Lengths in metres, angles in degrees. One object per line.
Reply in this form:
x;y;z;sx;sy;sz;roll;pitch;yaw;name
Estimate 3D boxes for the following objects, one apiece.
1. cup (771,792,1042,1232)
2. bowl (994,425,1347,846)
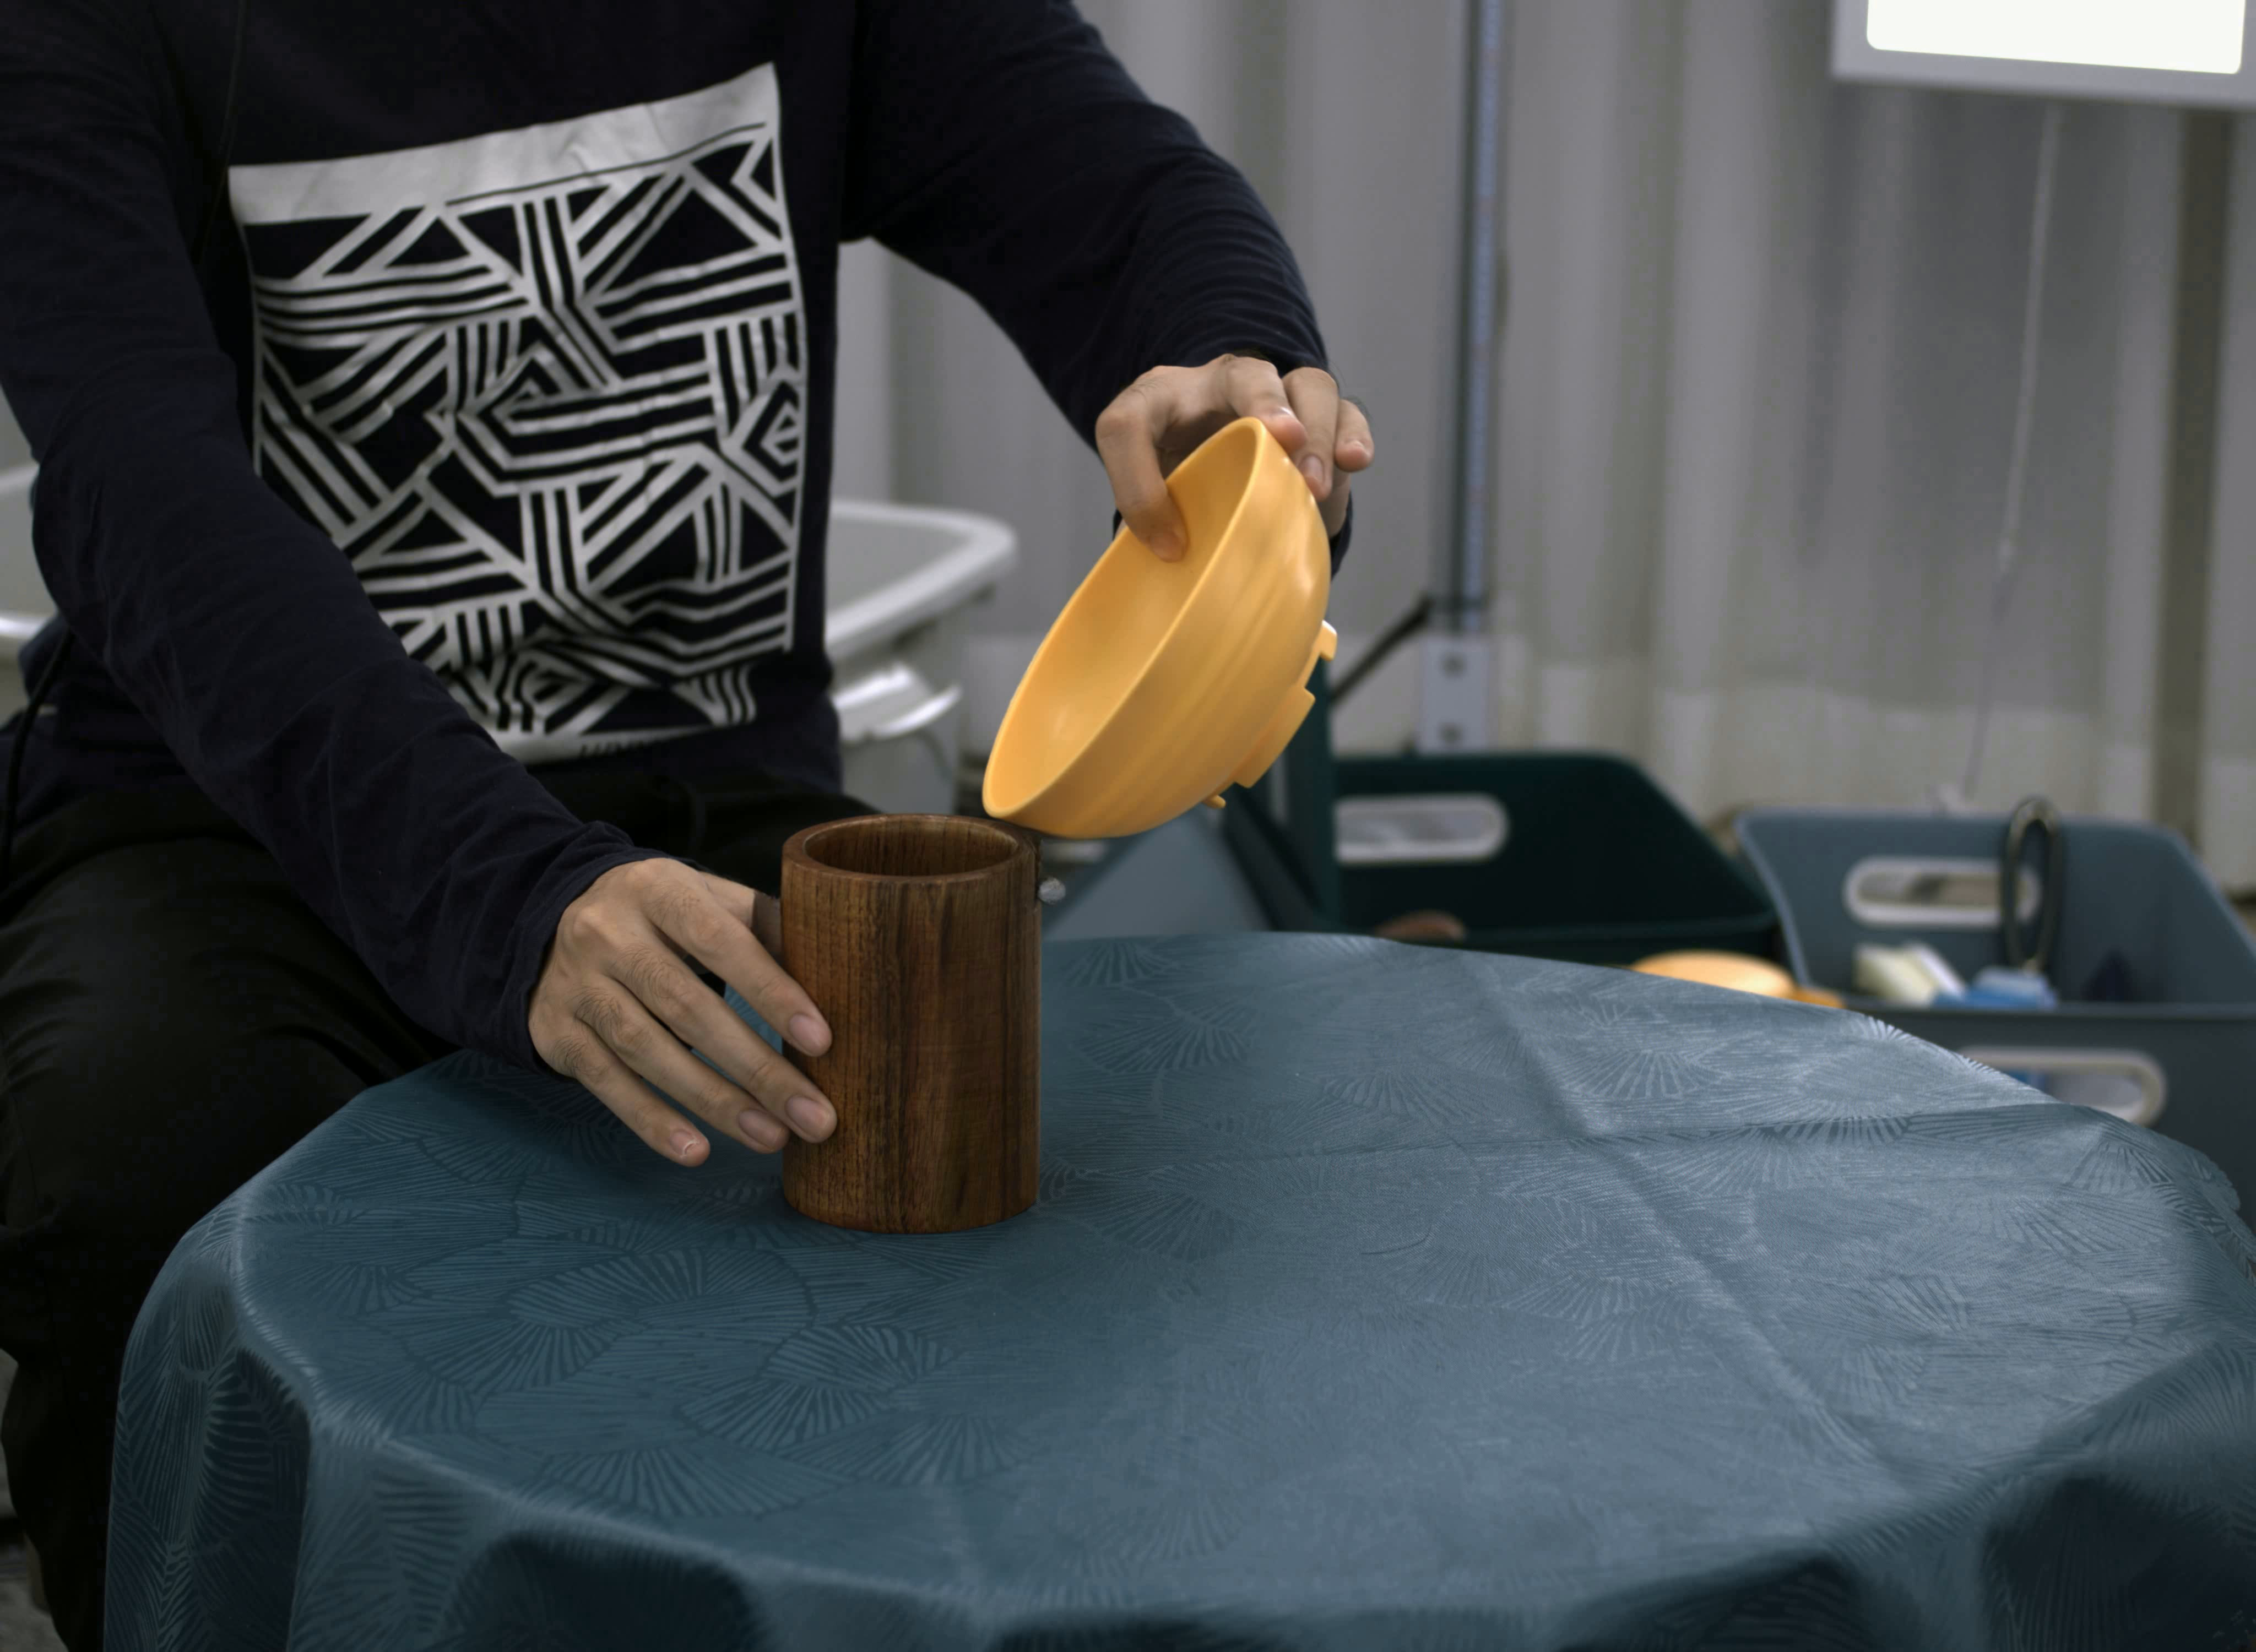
-0.069;0.055;1.605;0.087;0.119;0.087;3;15;0;cup
0.024;-0.046;1.597;0.060;0.145;0.144;33;11;-12;bowl
